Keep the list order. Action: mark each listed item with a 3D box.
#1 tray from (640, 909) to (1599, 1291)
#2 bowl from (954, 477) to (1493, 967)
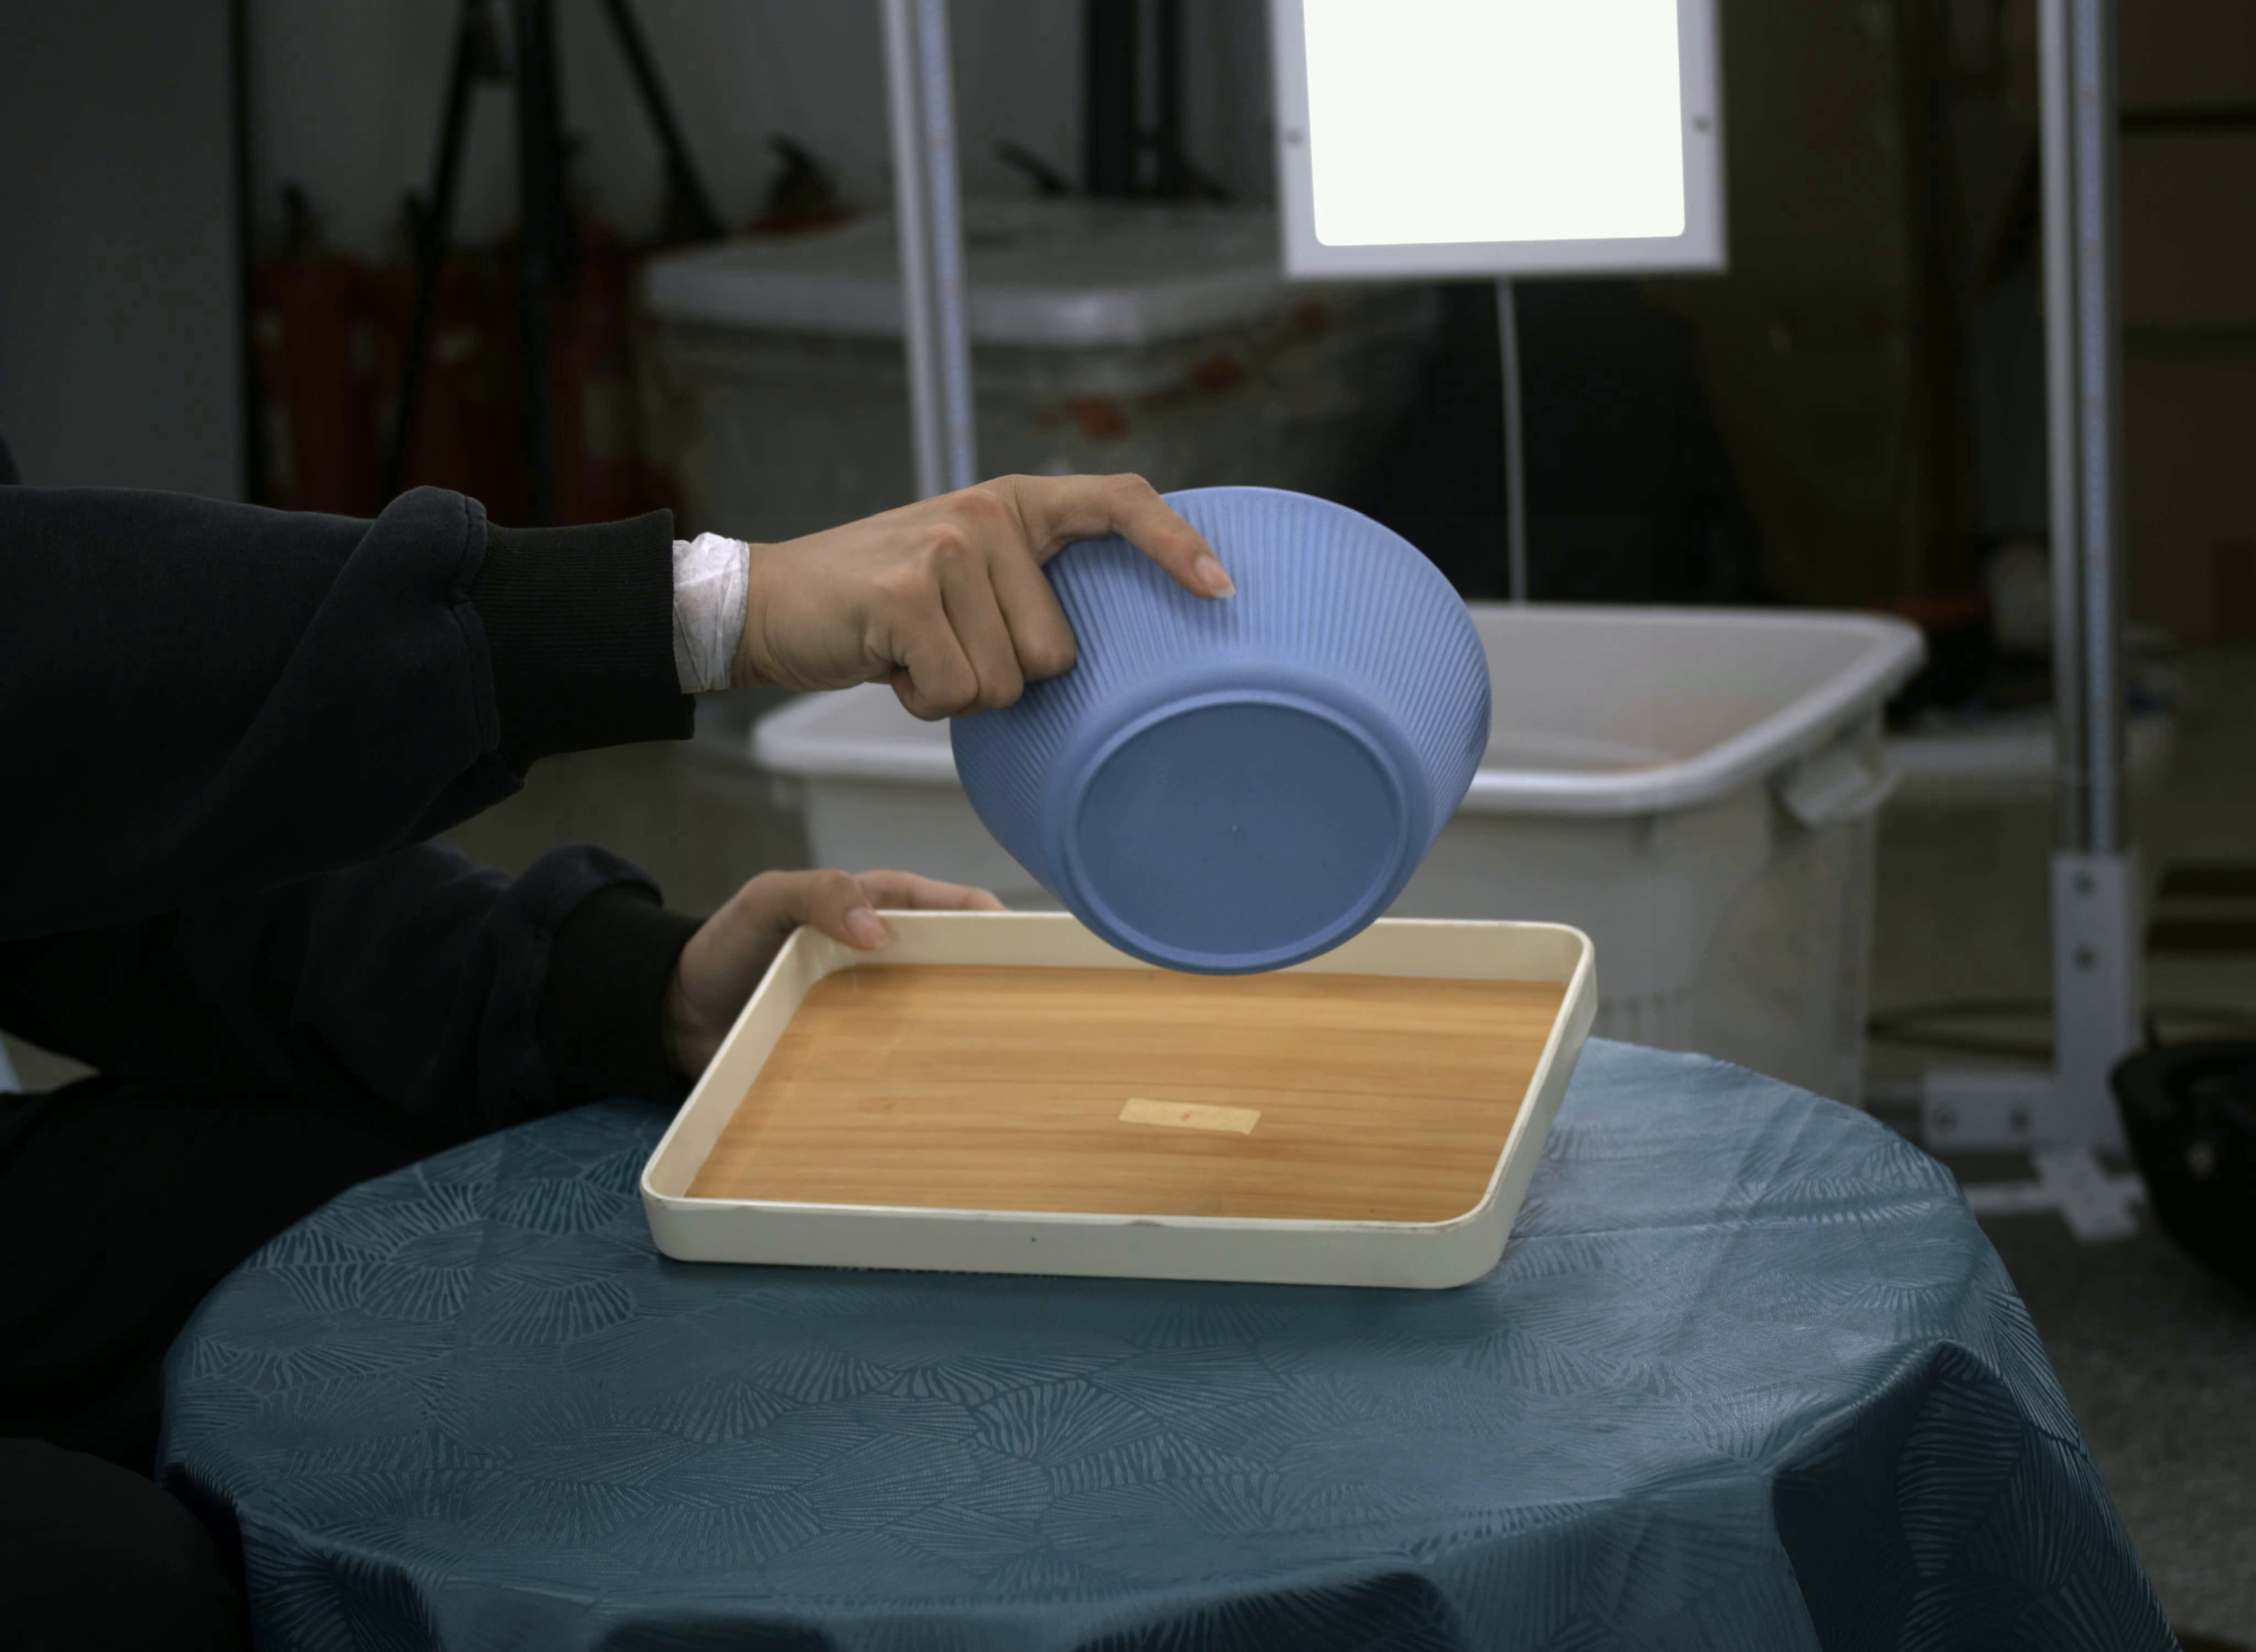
[{"bbox_3d":[-0.001,0.091,1.885,0.304,0.027,0.189,1,31,20],"label":"tray"},{"bbox_3d":[0.034,-0.020,1.749,0.175,0.177,0.070,-4,37,0],"label":"bowl"}]
